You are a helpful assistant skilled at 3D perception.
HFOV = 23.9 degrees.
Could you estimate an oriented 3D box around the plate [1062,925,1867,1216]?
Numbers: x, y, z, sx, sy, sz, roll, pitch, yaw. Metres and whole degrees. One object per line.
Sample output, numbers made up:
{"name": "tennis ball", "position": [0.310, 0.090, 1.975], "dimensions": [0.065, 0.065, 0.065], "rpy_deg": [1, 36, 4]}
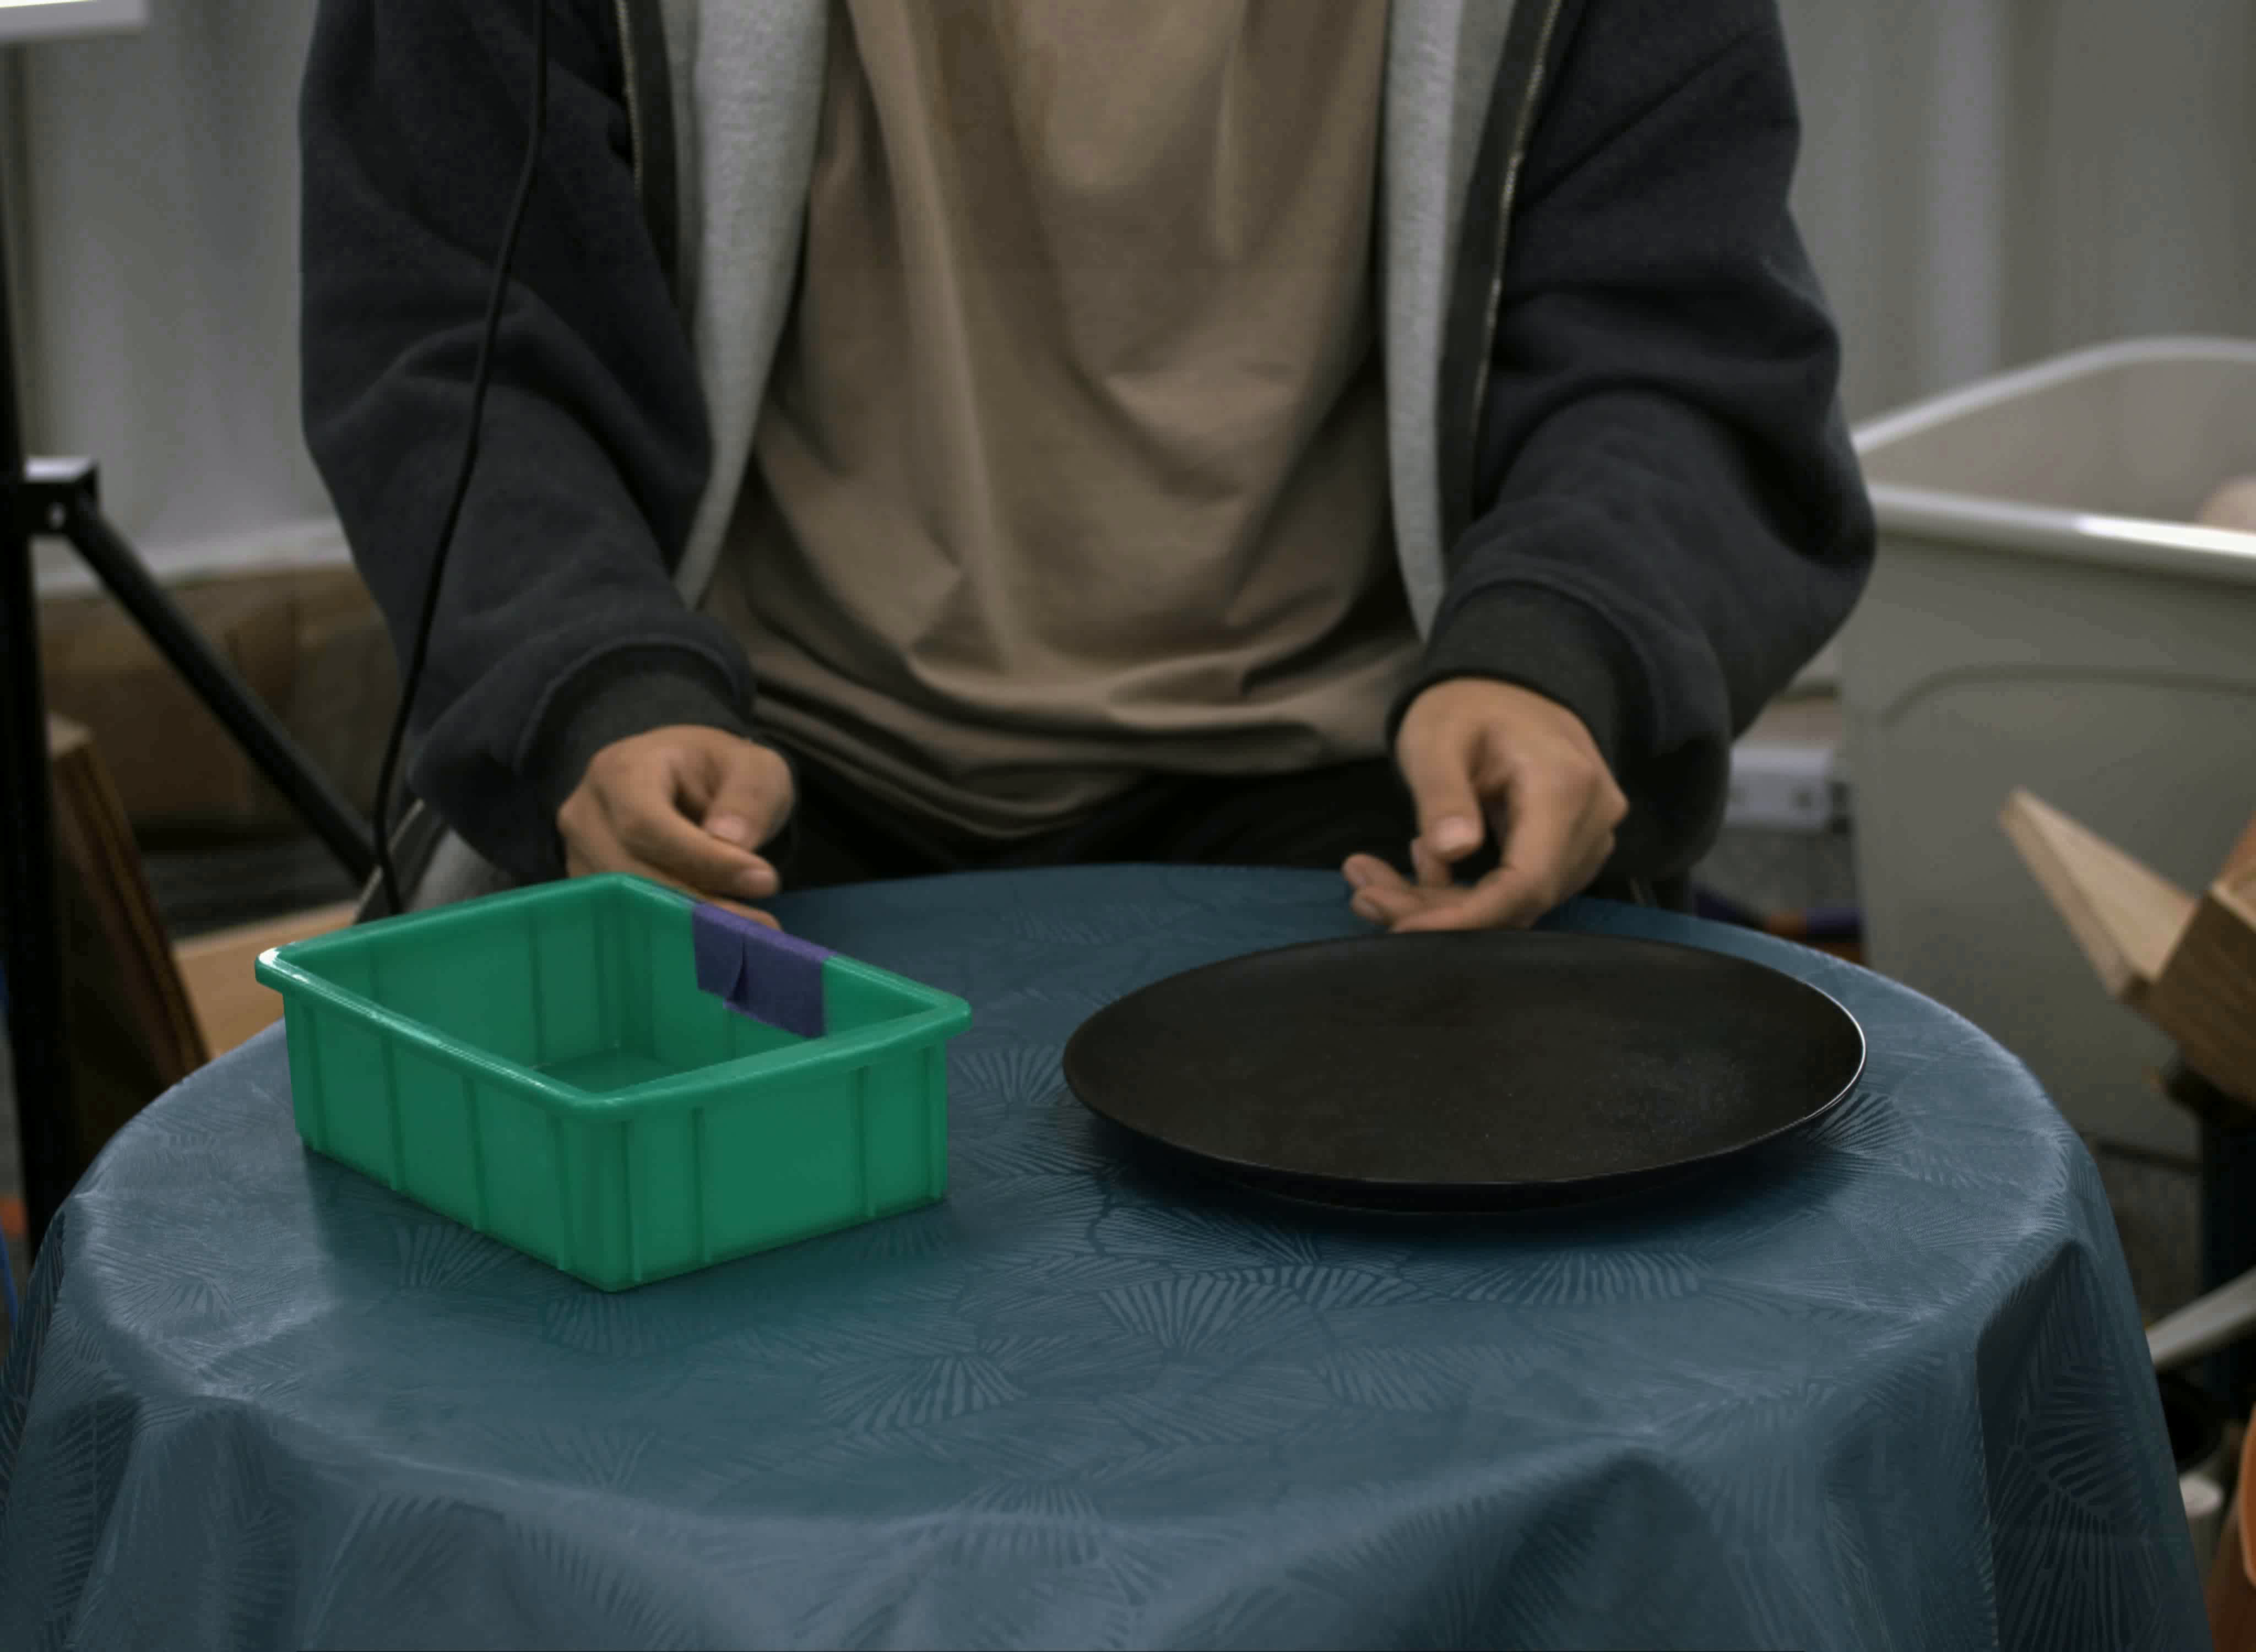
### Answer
{"name": "plate", "position": [0.102, 0.077, 1.610], "dimensions": [0.243, 0.023, 0.245], "rpy_deg": [-3, 16, 0]}

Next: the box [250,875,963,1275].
{"name": "box", "position": [-0.156, 0.073, 1.595], "dimensions": [0.135, 0.065, 0.215], "rpy_deg": [-12, 16, -36]}
